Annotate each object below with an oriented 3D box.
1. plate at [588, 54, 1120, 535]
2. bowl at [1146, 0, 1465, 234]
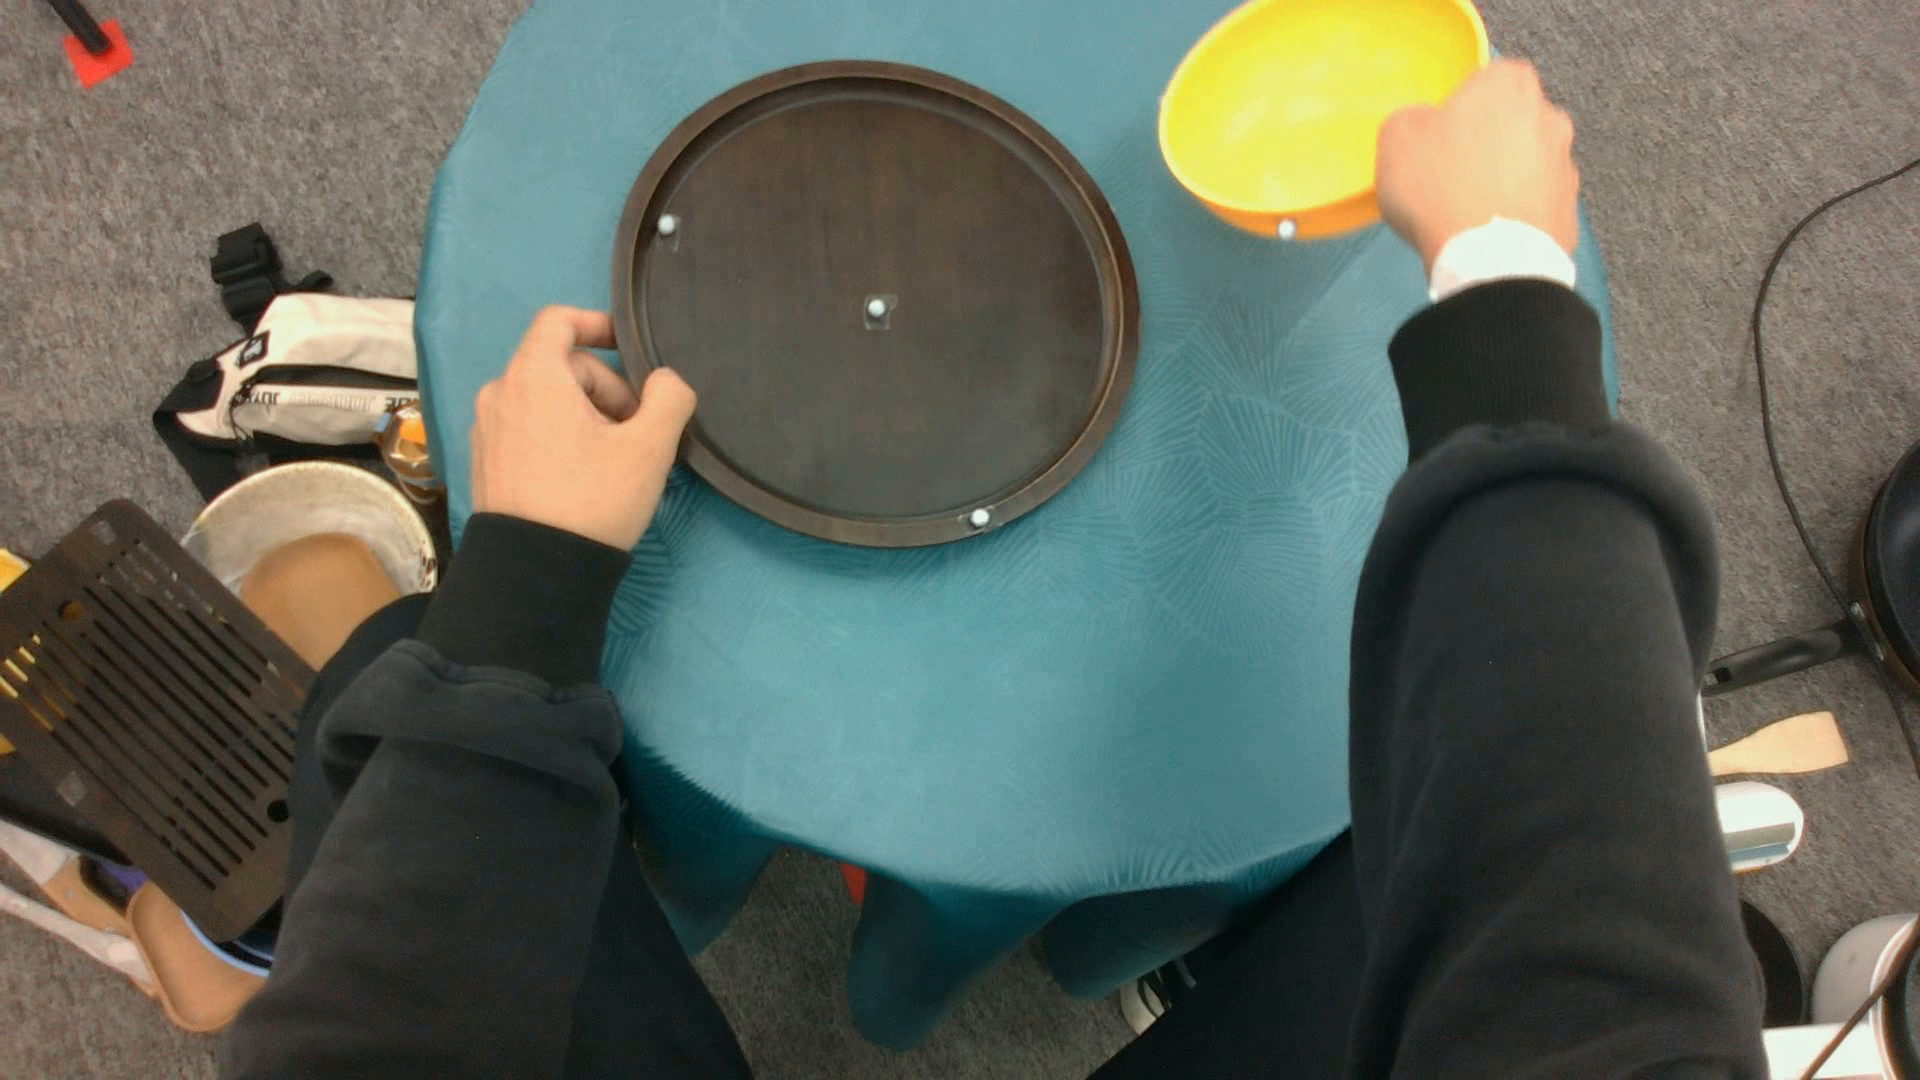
[{"bbox_3d":[-0.047,-0.121,0.659,0.255,0.029,0.255,4,73,-12],"label":"plate"},{"bbox_3d":[0.165,-0.195,0.650,0.145,0.060,0.146,-11,58,18],"label":"bowl"}]
